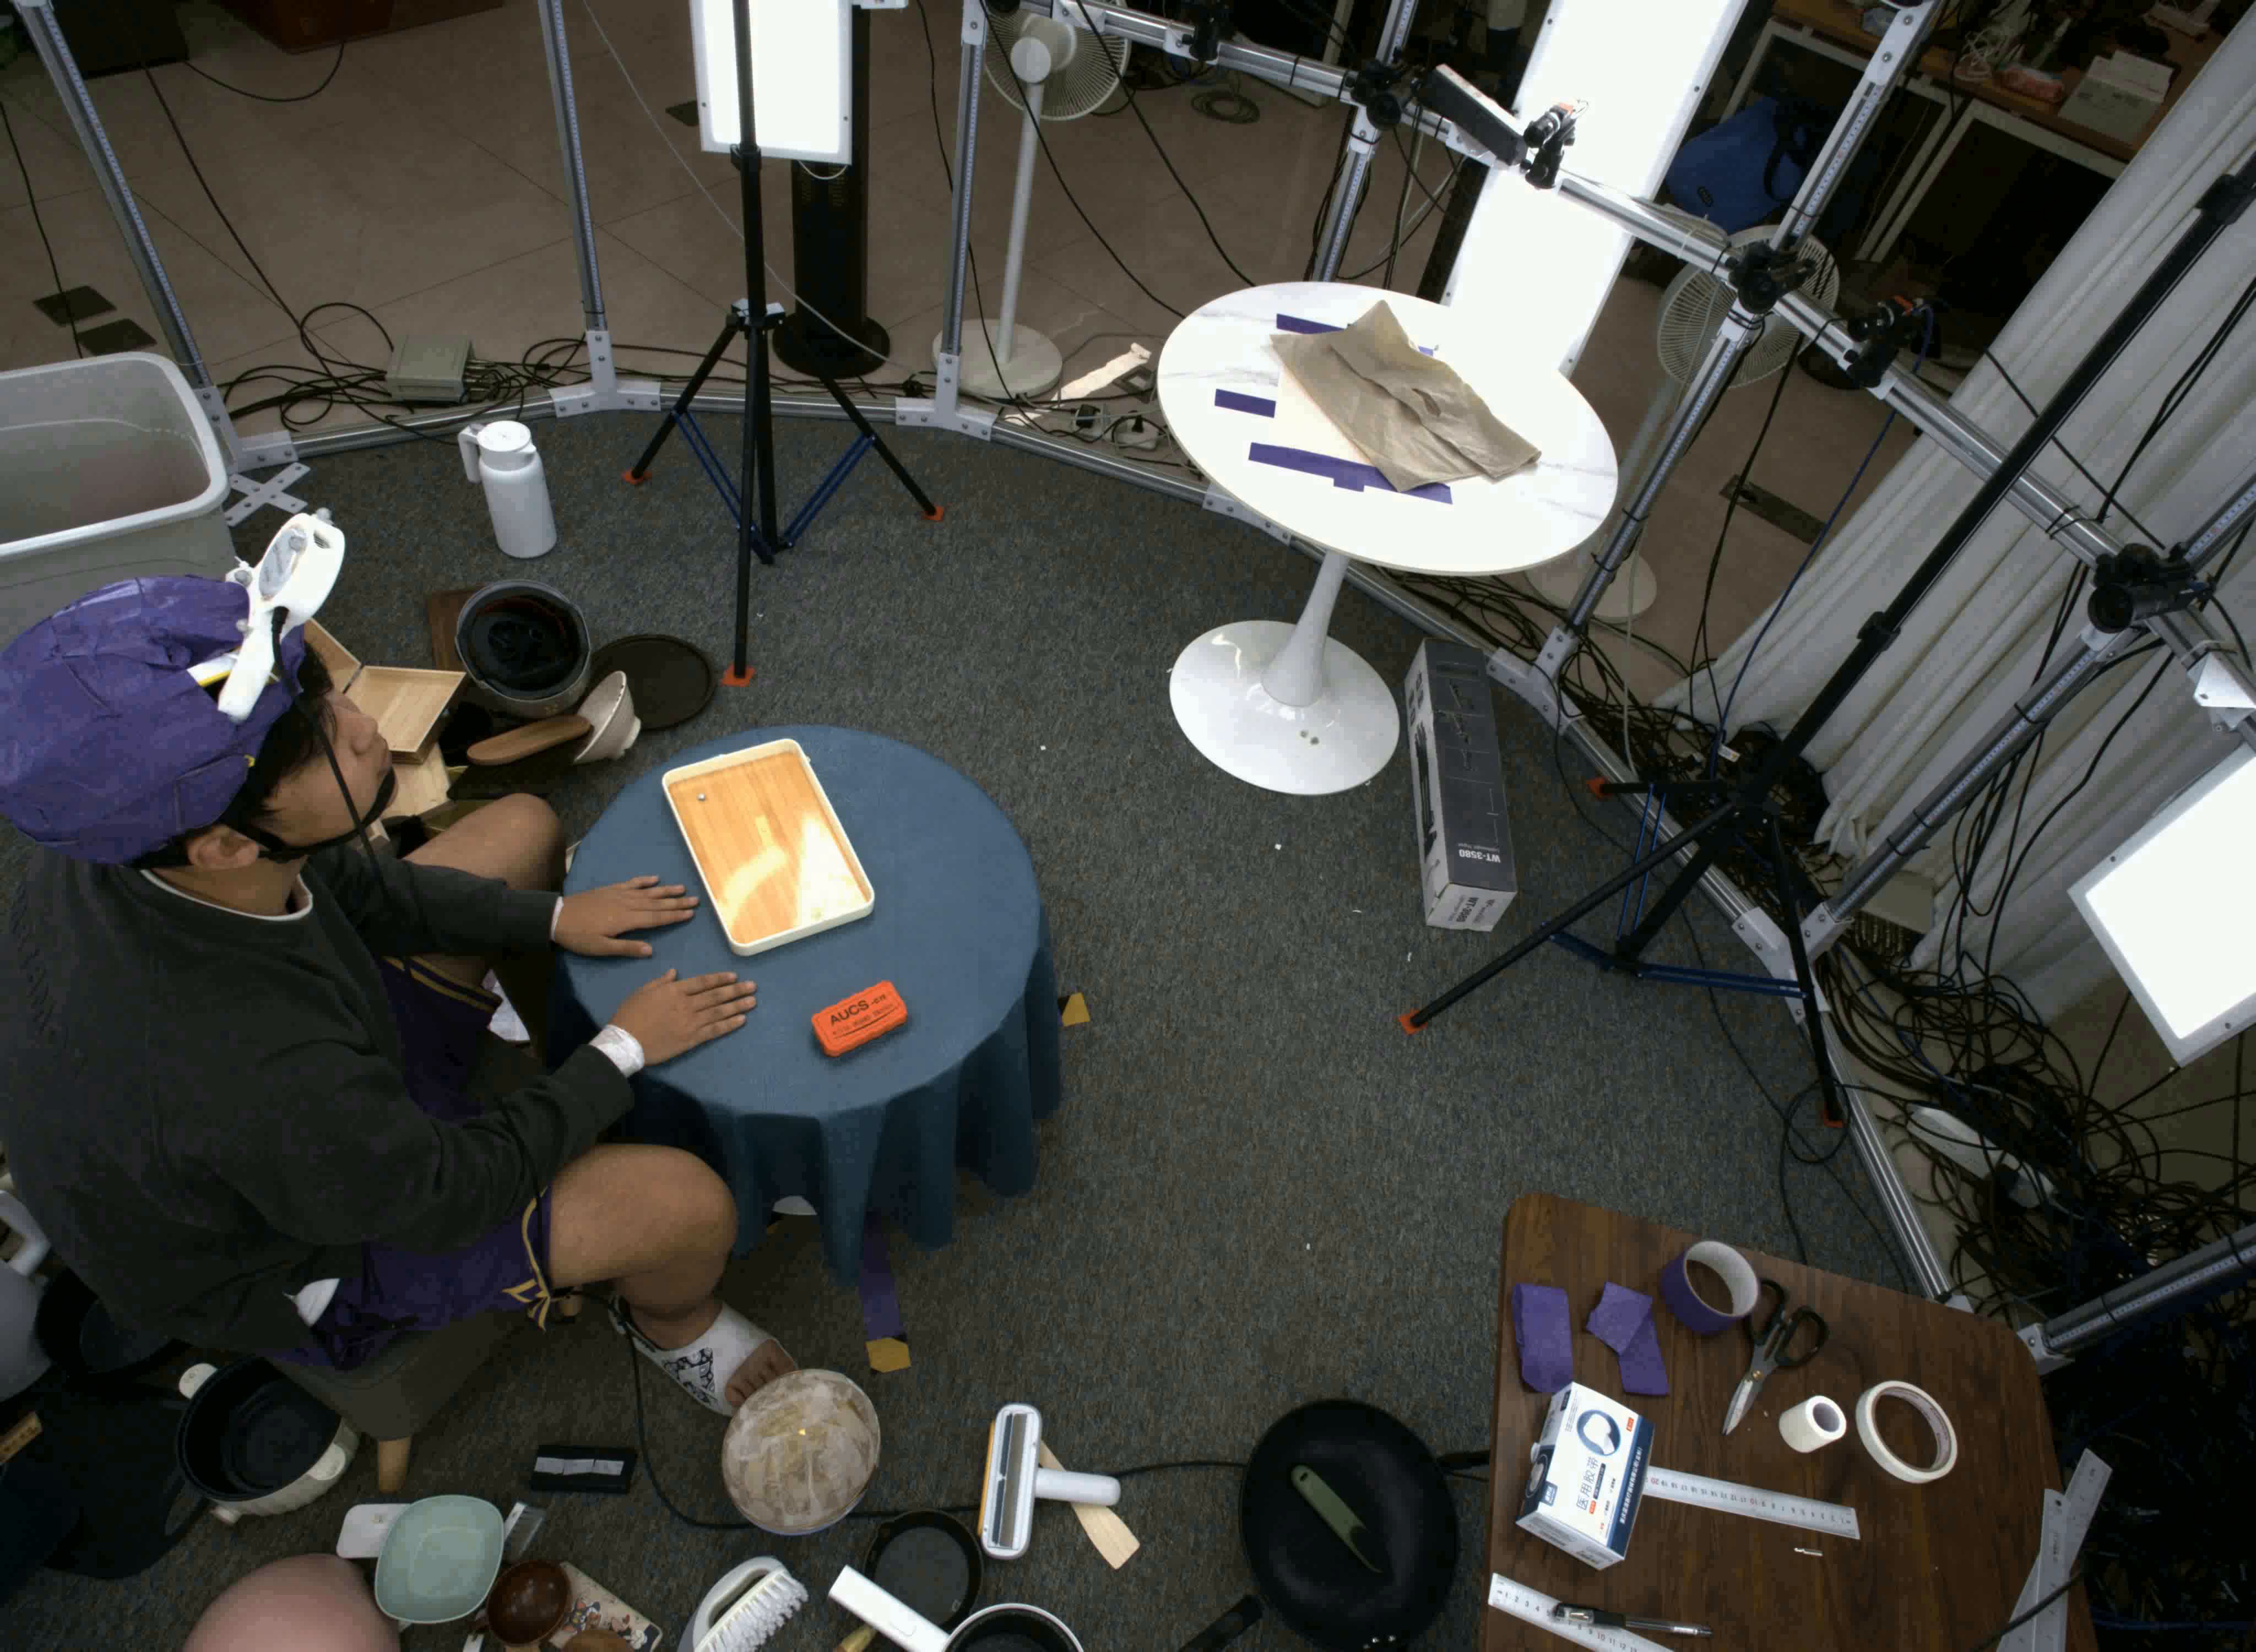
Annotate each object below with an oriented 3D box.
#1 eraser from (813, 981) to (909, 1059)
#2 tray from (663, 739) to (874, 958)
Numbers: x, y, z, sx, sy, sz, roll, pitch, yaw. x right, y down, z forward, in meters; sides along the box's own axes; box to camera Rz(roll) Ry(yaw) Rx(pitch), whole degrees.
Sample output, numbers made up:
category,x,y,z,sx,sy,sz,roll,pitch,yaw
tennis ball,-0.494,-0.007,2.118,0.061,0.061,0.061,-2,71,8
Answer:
category,x,y,z,sx,sy,sz,roll,pitch,yaw
eraser,-0.322,0.231,1.567,0.108,0.023,0.057,-25,65,-29
tray,-0.471,0.020,1.684,0.192,0.028,0.293,-19,60,-26
